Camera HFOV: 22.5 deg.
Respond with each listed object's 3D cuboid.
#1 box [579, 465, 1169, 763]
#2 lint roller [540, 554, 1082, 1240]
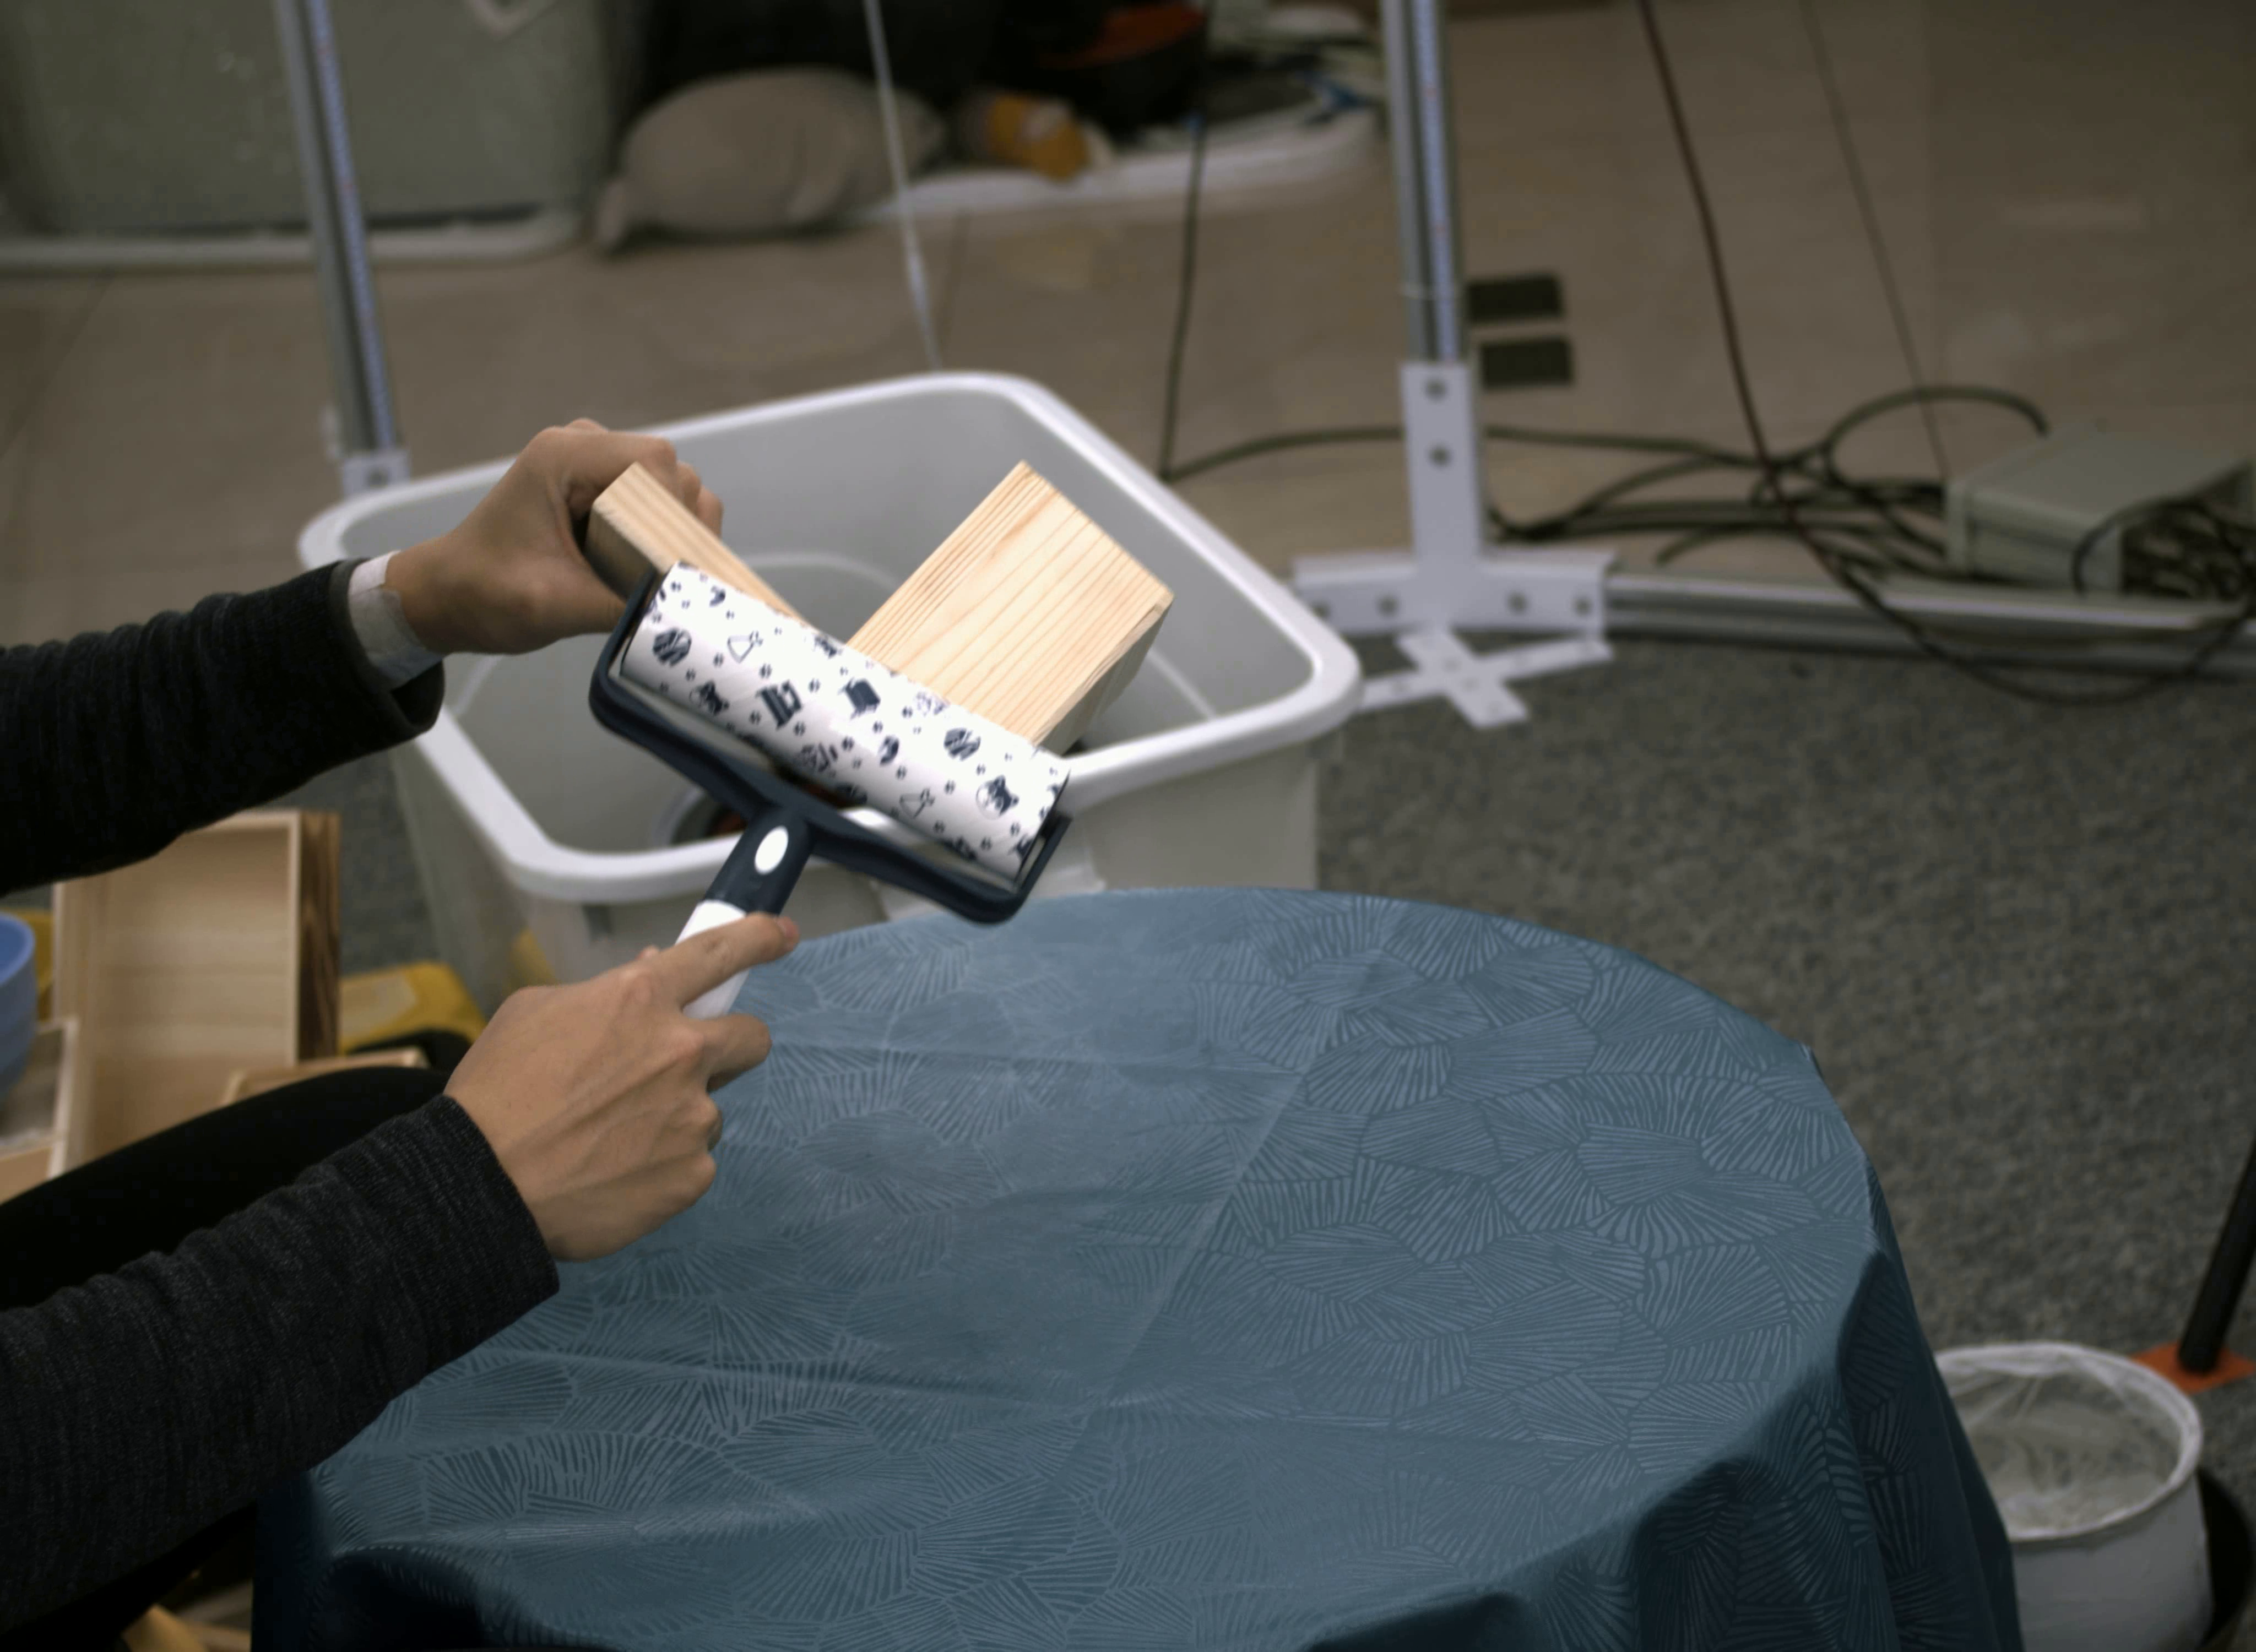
[{"bbox_3d":[-0.097,-0.088,2.107,0.133,0.184,0.103,-47,-3,-15],"label":"box"},{"bbox_3d":[-0.139,0.037,1.974,0.176,0.051,0.244,28,62,-2],"label":"lint roller"}]
